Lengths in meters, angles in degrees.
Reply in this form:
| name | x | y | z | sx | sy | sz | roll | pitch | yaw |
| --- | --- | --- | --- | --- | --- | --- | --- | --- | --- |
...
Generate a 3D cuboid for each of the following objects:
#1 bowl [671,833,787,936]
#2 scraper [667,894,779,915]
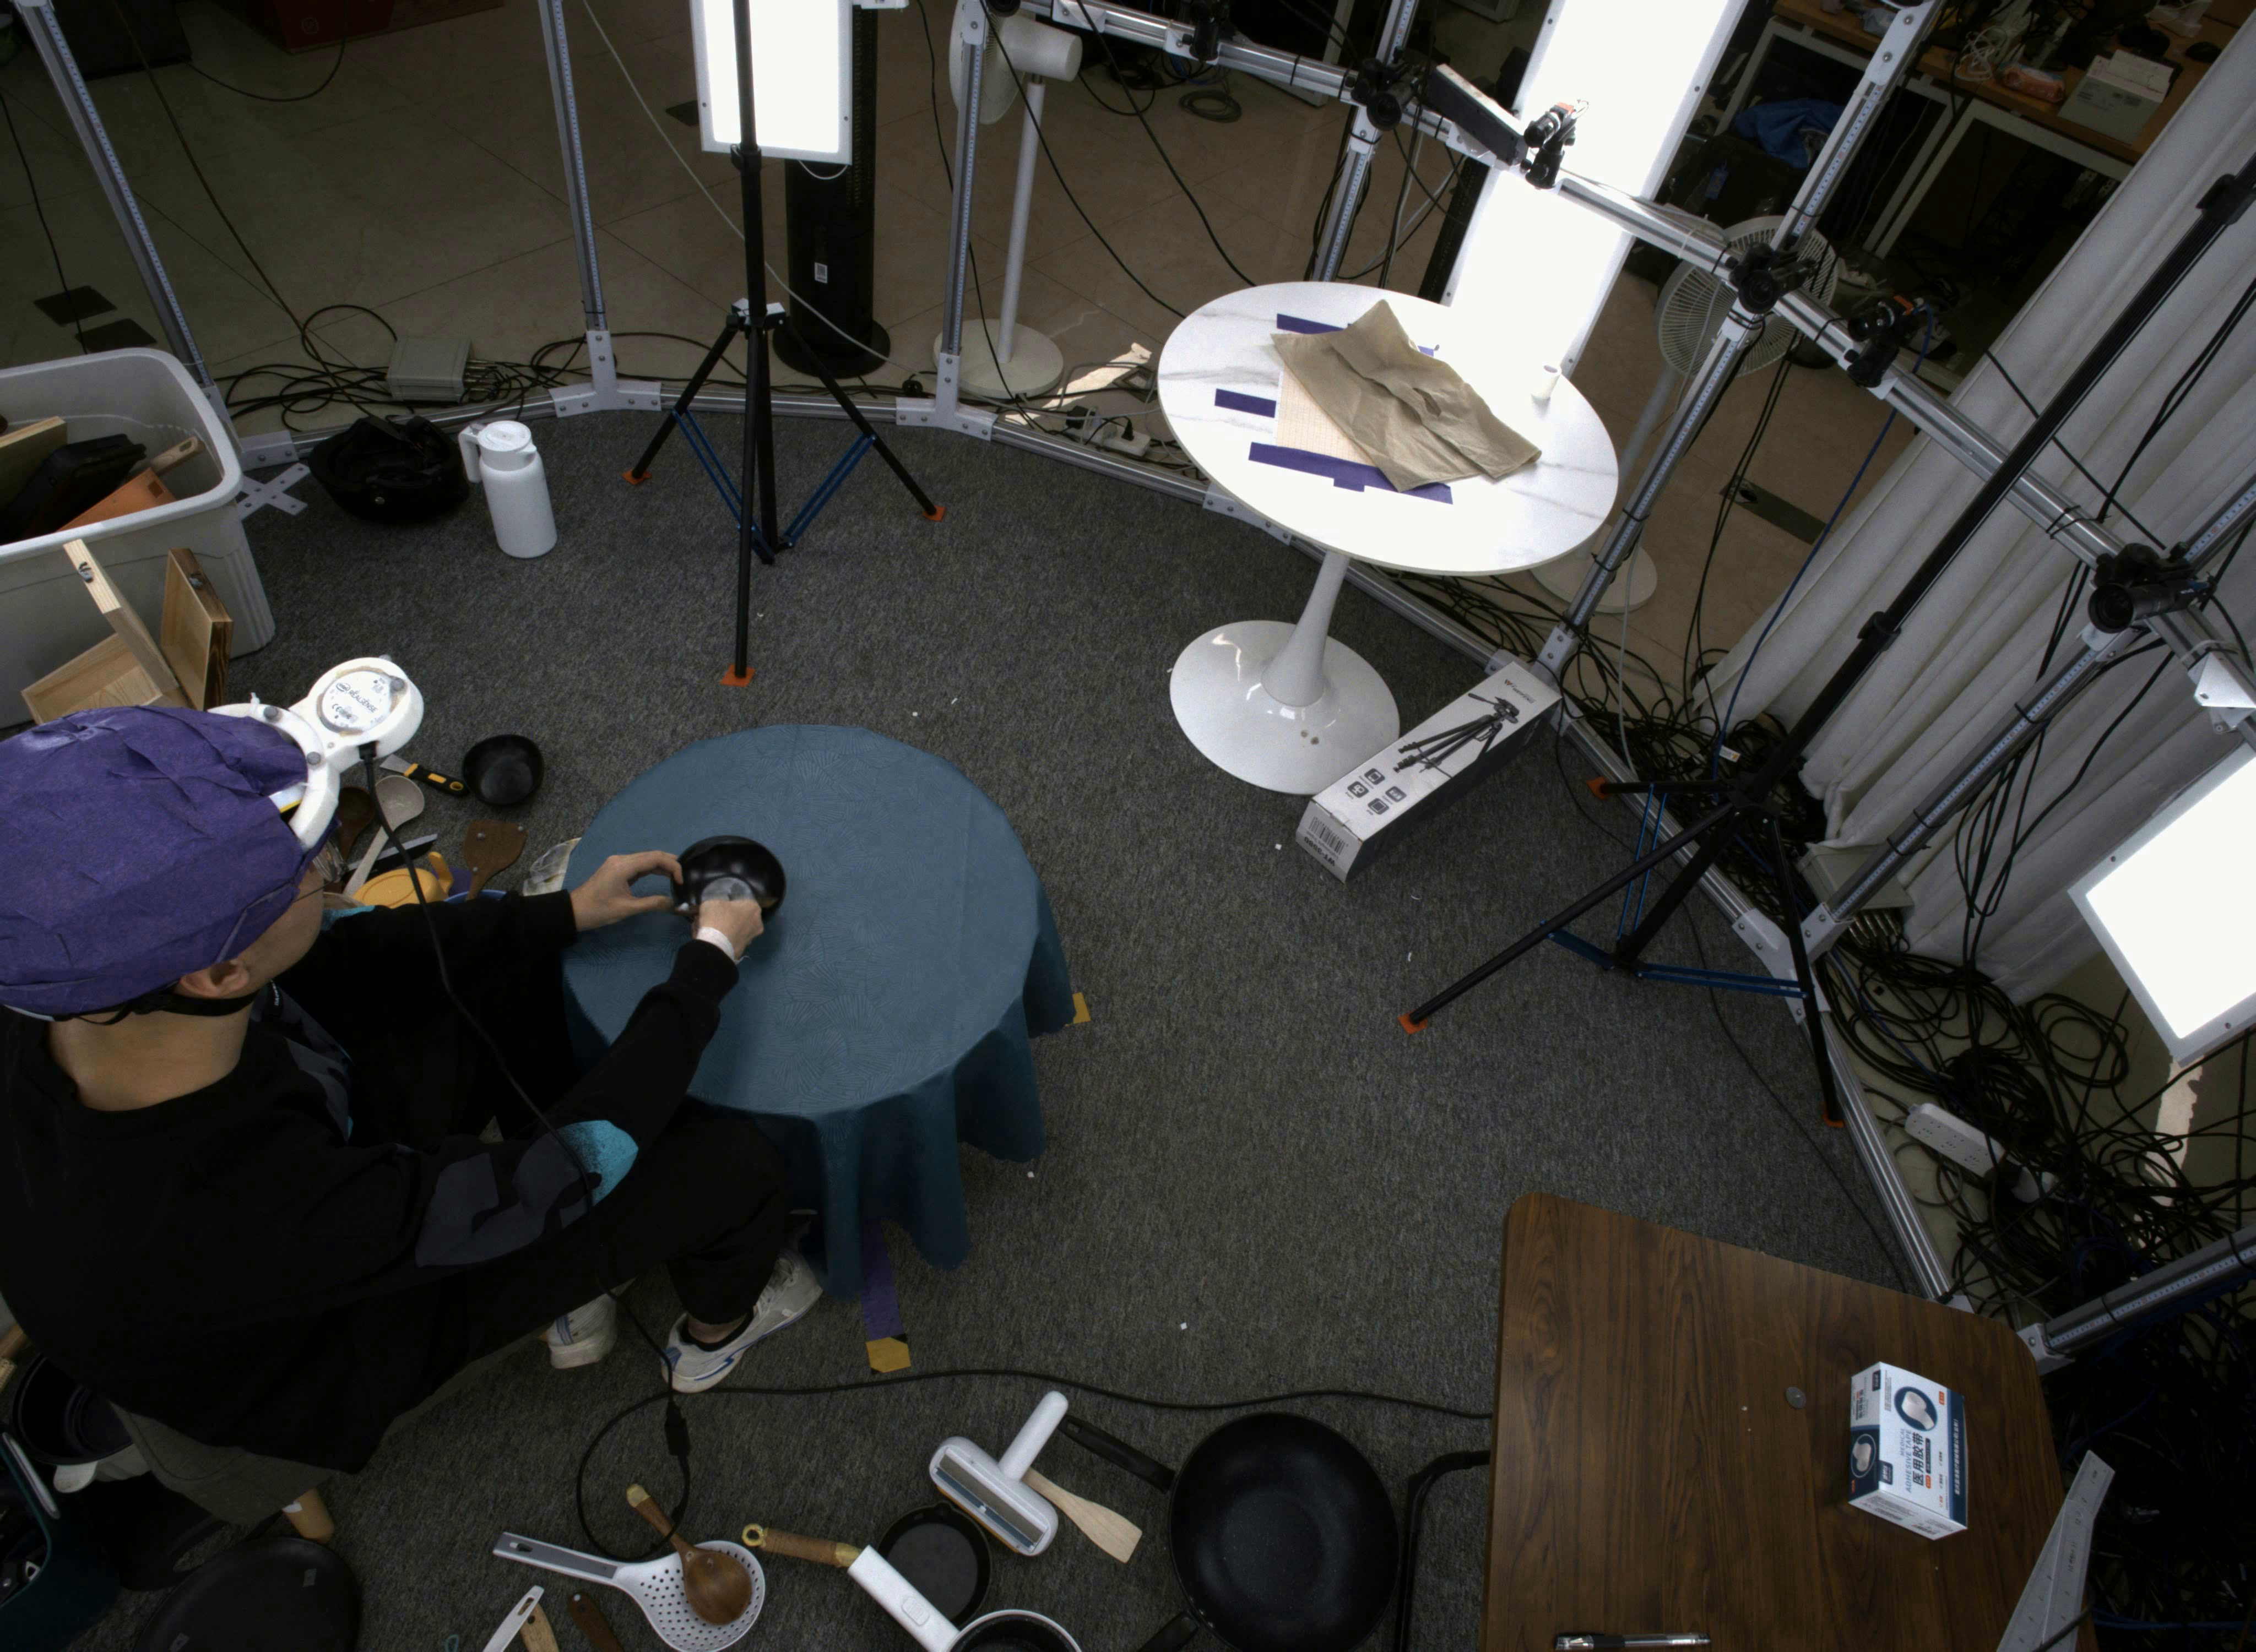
| name | x | y | z | sx | sy | sz | roll | pitch | yaw |
| --- | --- | --- | --- | --- | --- | --- | --- | --- | --- |
| bowl | -0.493 | 0.078 | 1.593 | 0.141 | 0.050 | 0.138 | 12 | 54 | -15 |
| scraper | -0.479 | 0.090 | 1.508 | 0.074 | 0.212 | 0.011 | 3 | 91 | 7 |
